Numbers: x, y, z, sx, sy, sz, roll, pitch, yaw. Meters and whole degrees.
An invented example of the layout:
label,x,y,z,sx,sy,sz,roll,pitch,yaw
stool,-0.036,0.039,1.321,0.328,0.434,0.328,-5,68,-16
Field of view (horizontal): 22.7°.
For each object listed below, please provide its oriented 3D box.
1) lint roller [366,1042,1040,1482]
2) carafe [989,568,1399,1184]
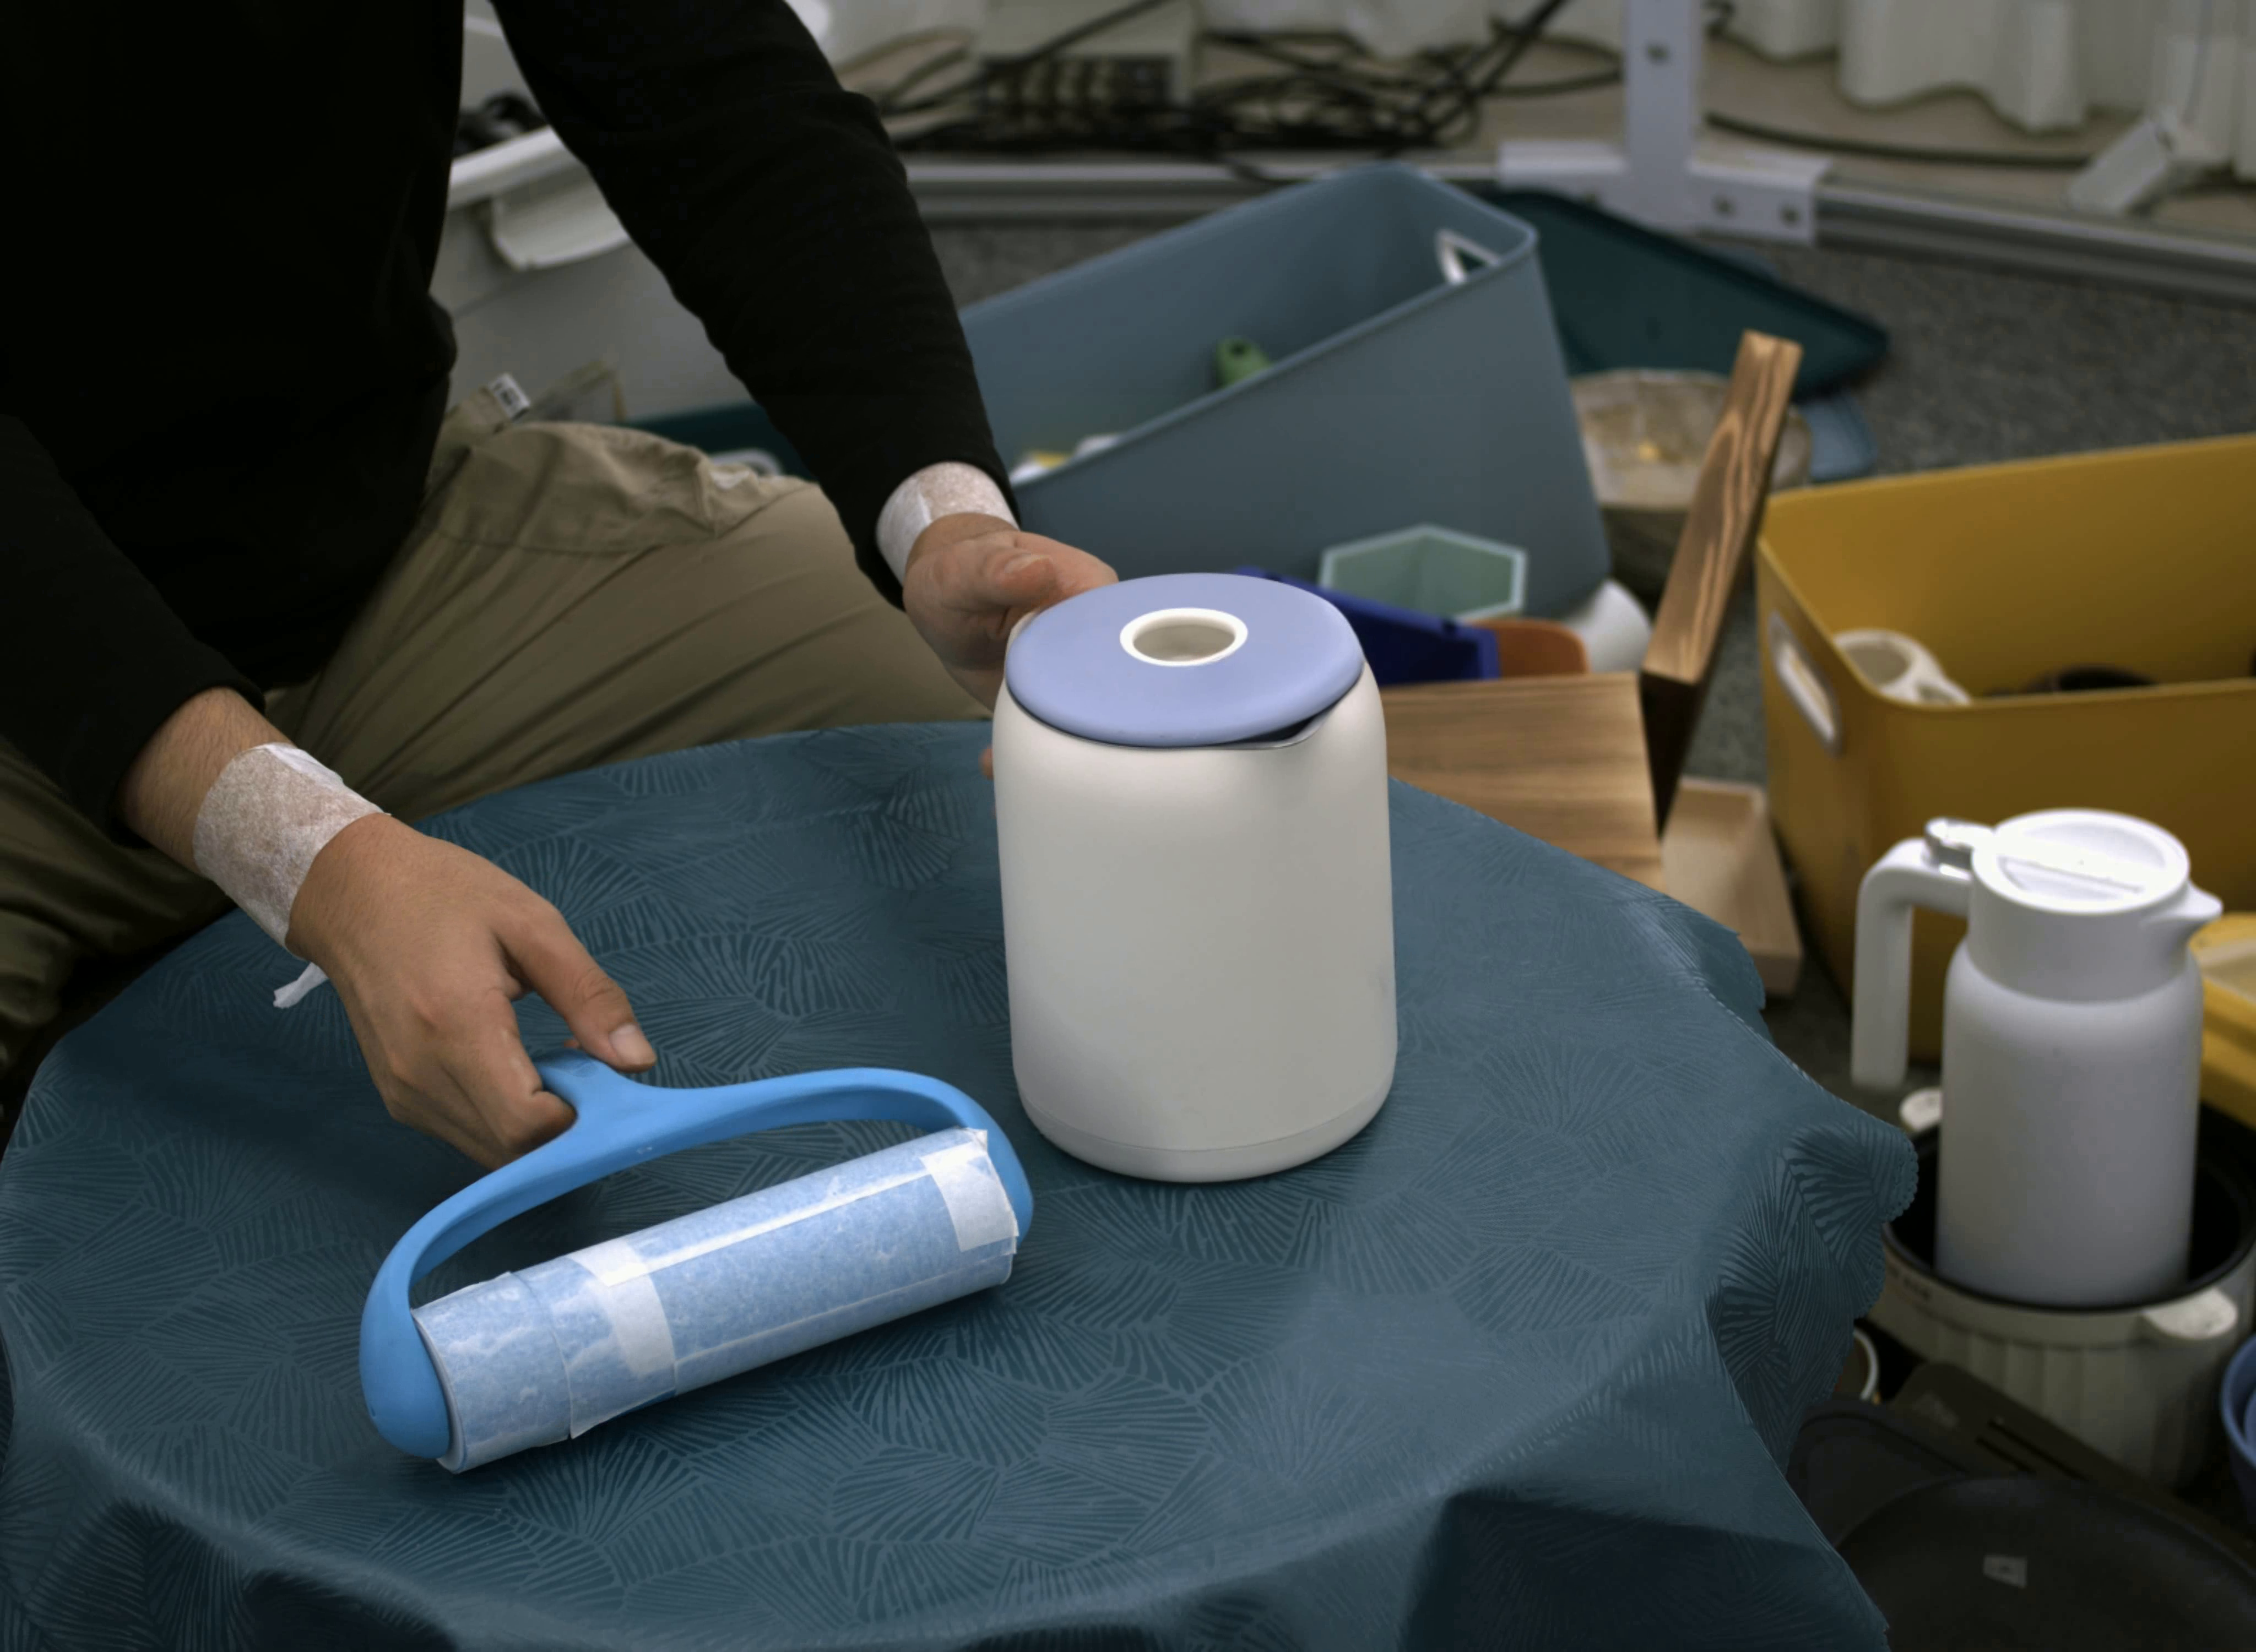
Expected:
label,x,y,z,sx,sy,sz,roll,pitch,yaw
lint roller,-0.161,0.114,1.806,0.230,0.067,0.182,-21,46,-24
carafe,0.010,0.007,1.896,0.133,0.181,0.191,-18,28,-28
